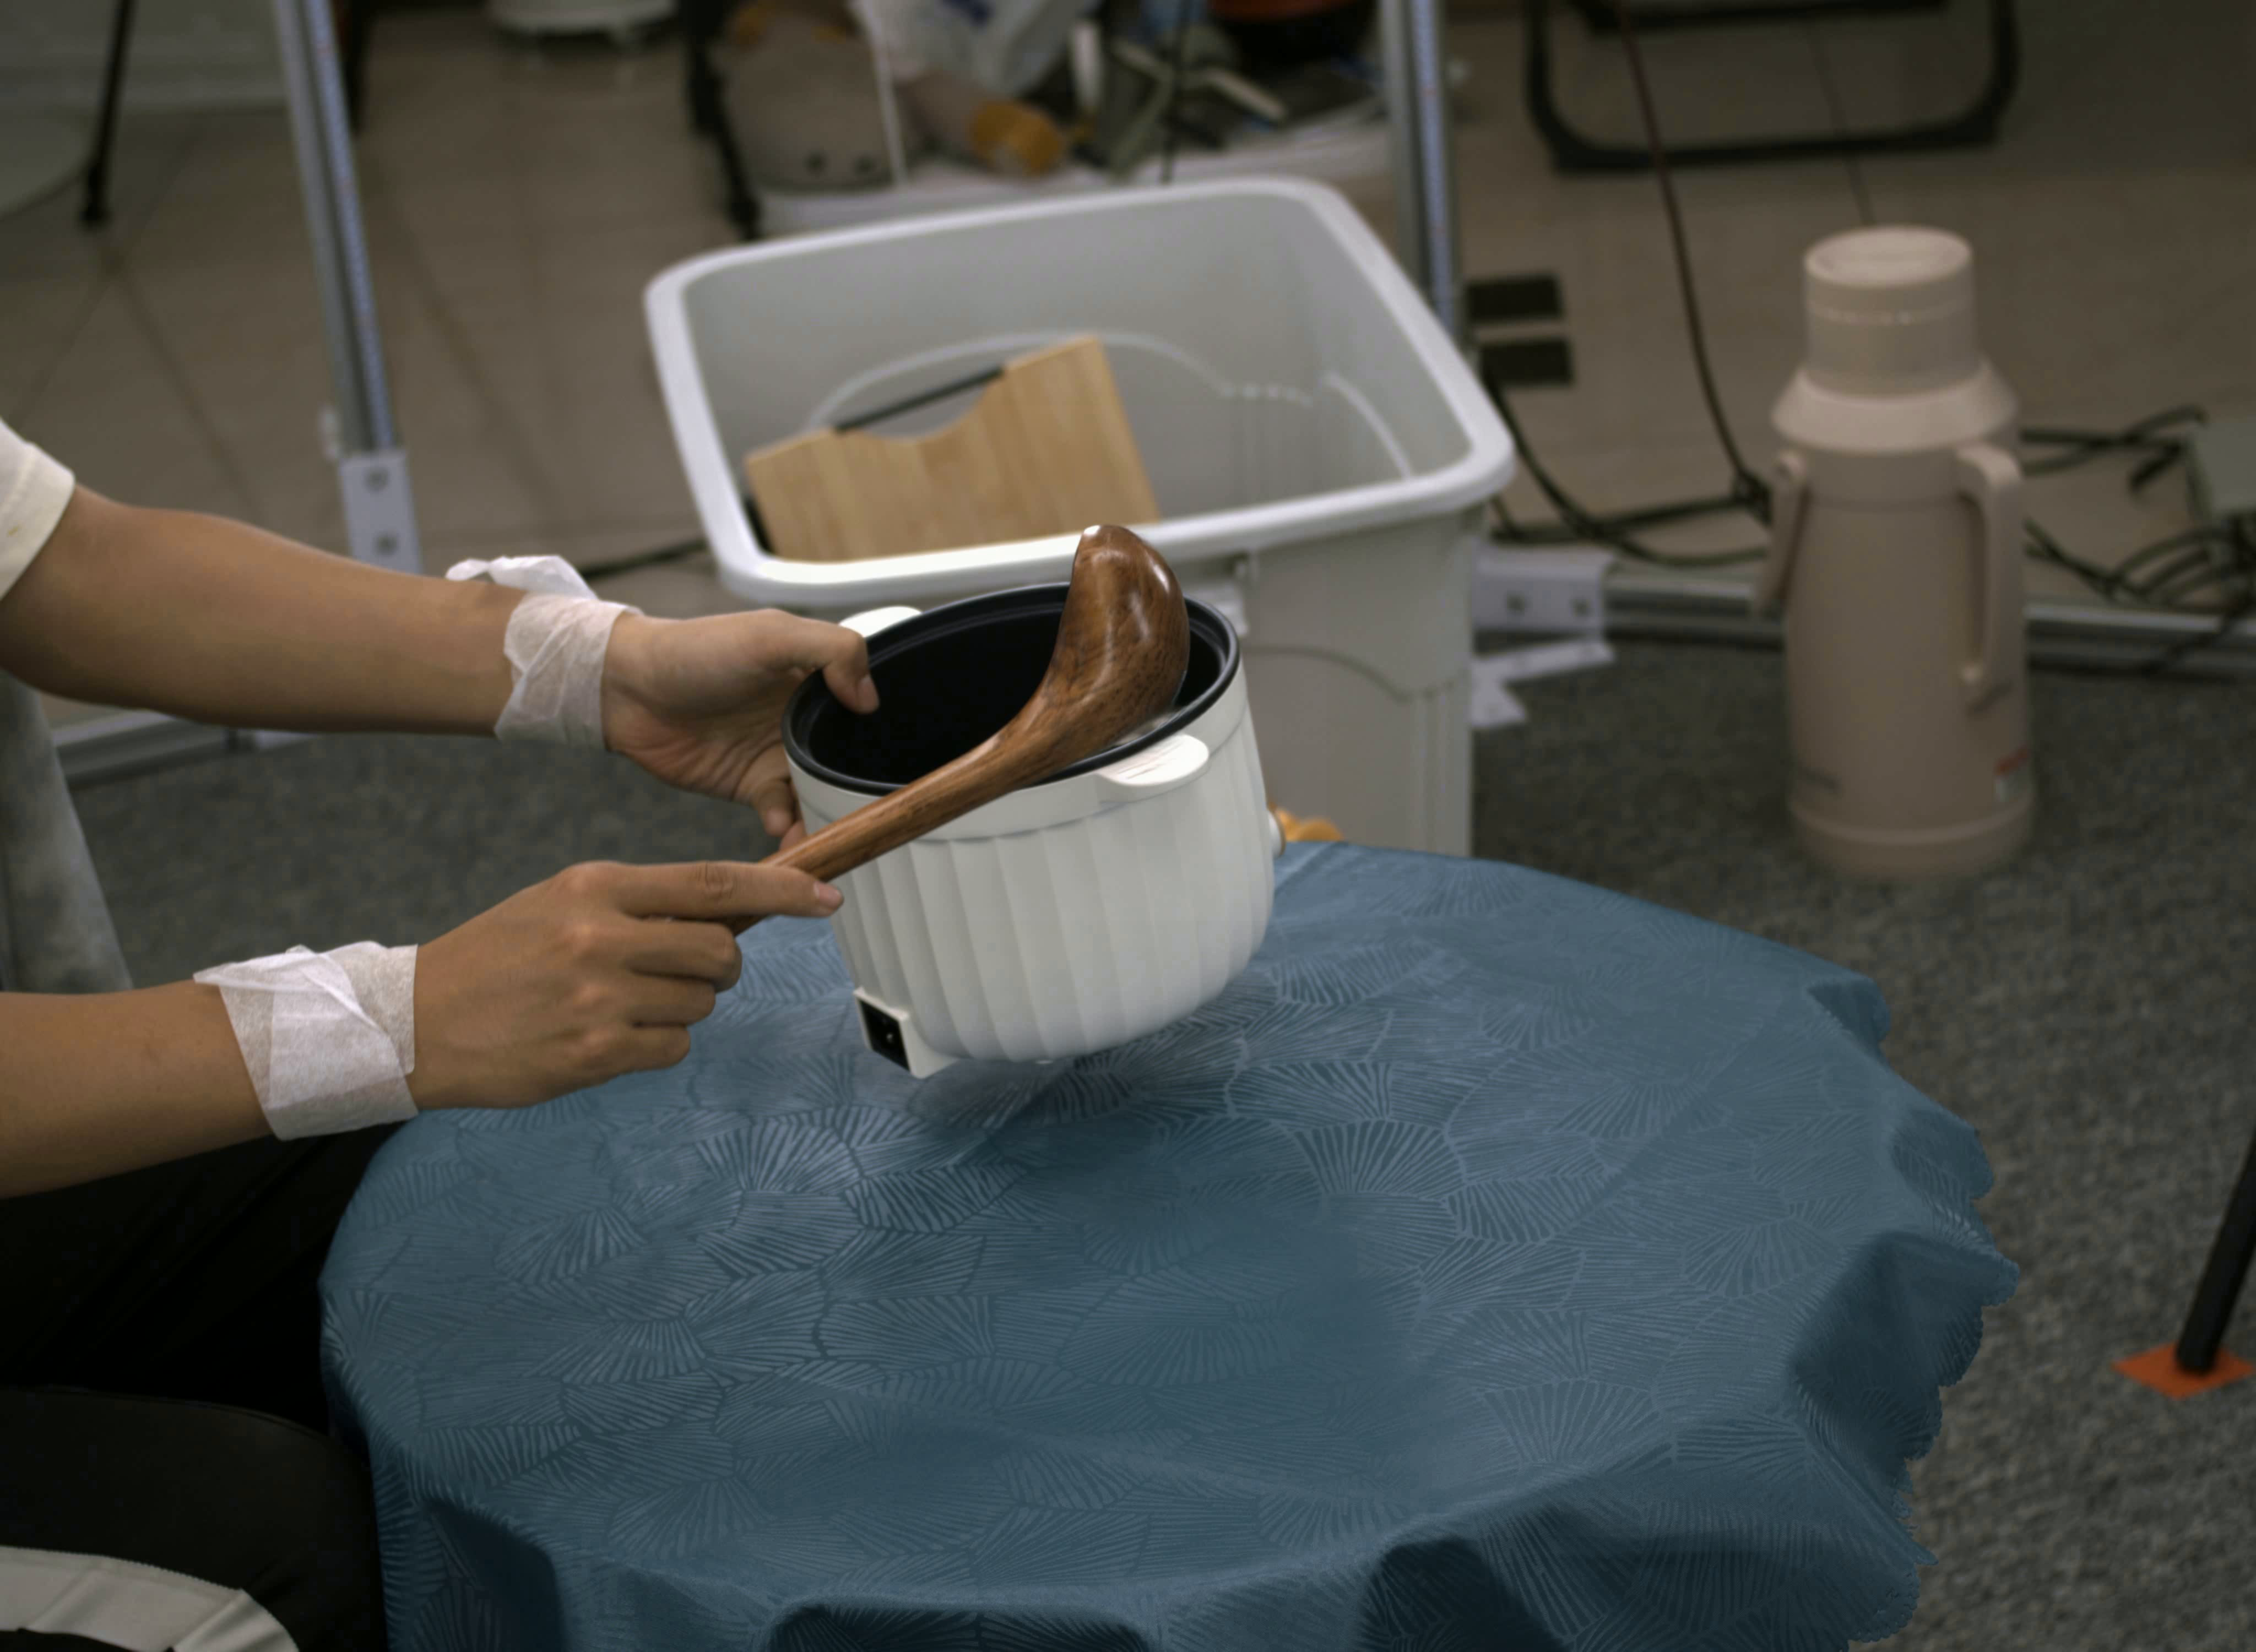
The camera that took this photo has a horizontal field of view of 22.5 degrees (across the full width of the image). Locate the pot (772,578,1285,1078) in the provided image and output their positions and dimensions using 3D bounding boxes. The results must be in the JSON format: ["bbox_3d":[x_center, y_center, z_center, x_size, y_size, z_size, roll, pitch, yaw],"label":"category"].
[{"bbox_3d":[-0.030,-0.001,2.221,0.189,0.145,0.238,-29,32,-24],"label":"pot"}]

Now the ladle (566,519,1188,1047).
[{"bbox_3d":[-0.094,-0.018,2.041,0.273,0.083,0.075,-31,41,-7],"label":"ladle"}]
